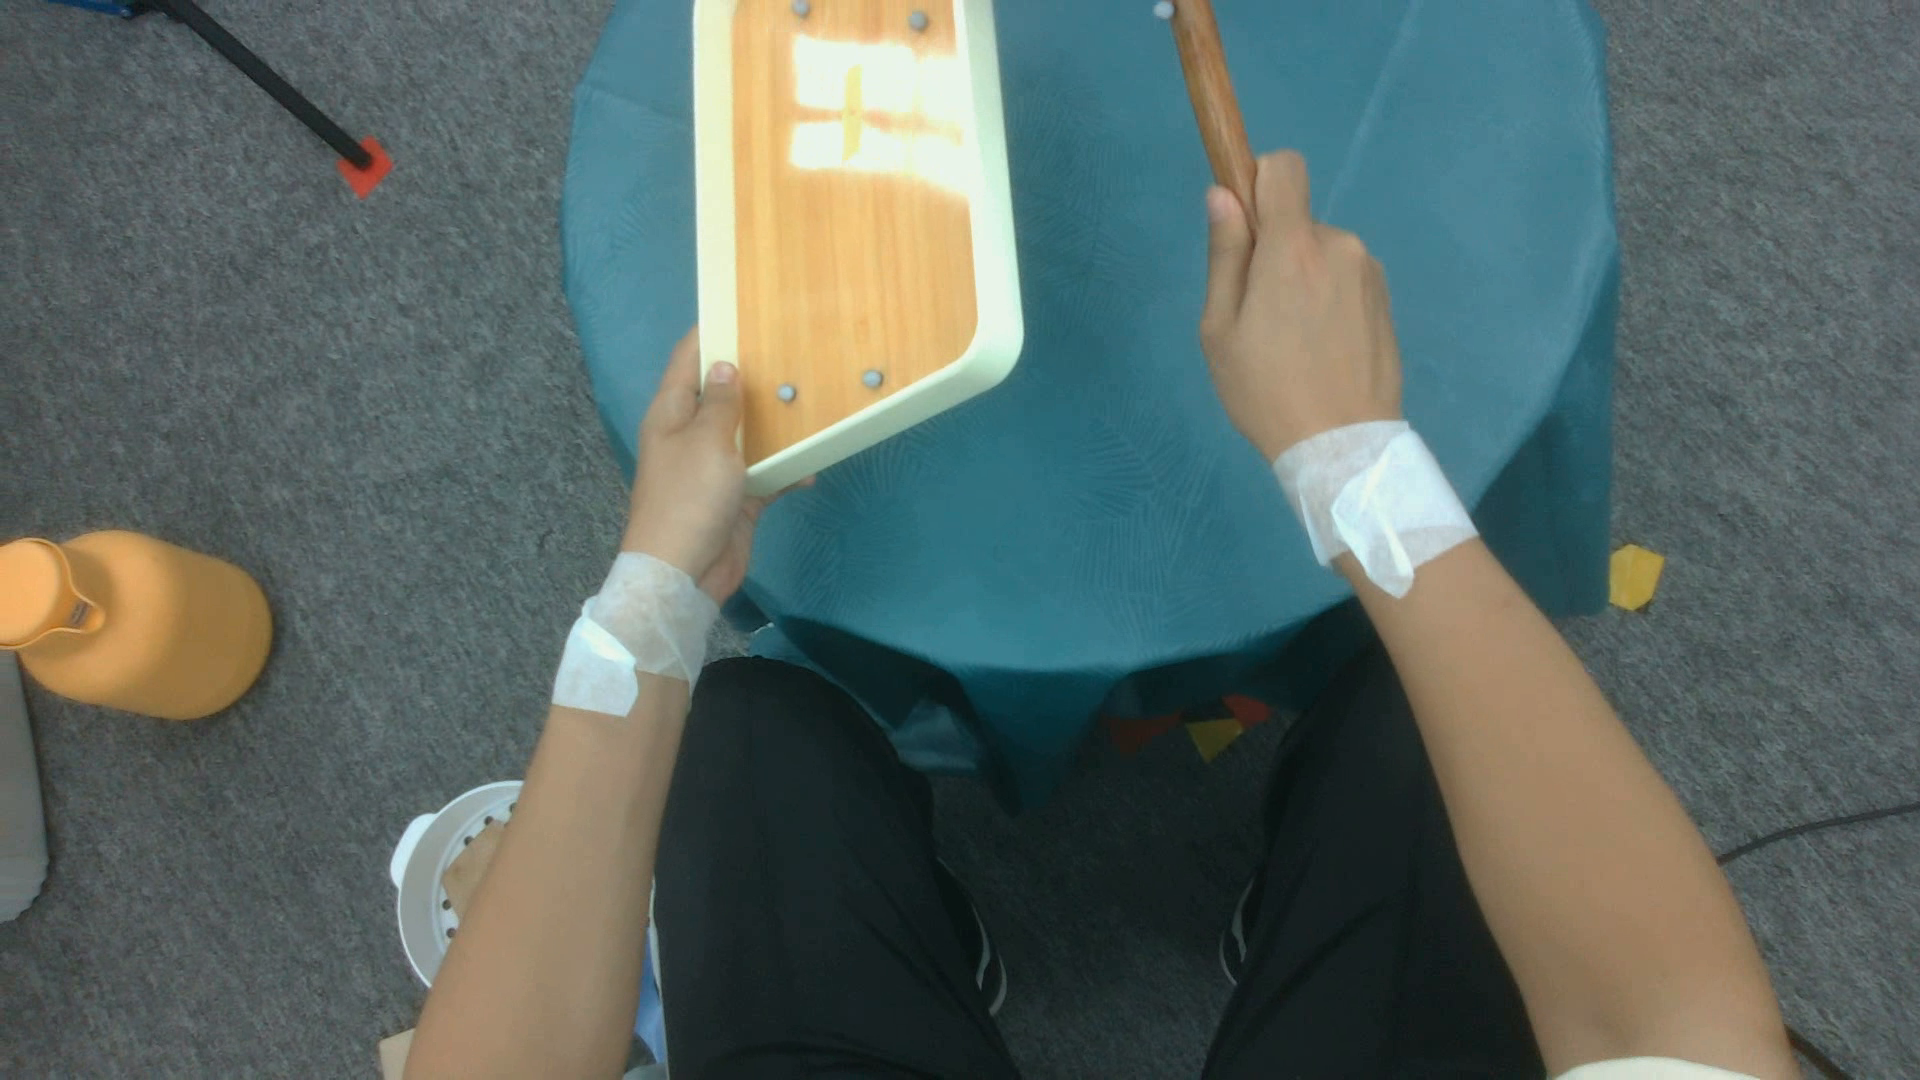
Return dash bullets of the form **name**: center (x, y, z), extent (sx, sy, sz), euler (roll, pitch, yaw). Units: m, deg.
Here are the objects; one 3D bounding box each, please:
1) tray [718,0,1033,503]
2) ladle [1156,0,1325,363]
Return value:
- **tray**: center (-0.051, -0.182, 0.672), extent (0.191, 0.027, 0.301), euler (-21, 63, 40)
- **ladle**: center (0.081, -0.195, 0.594), extent (0.077, 0.082, 0.274), euler (-22, 97, -8)
